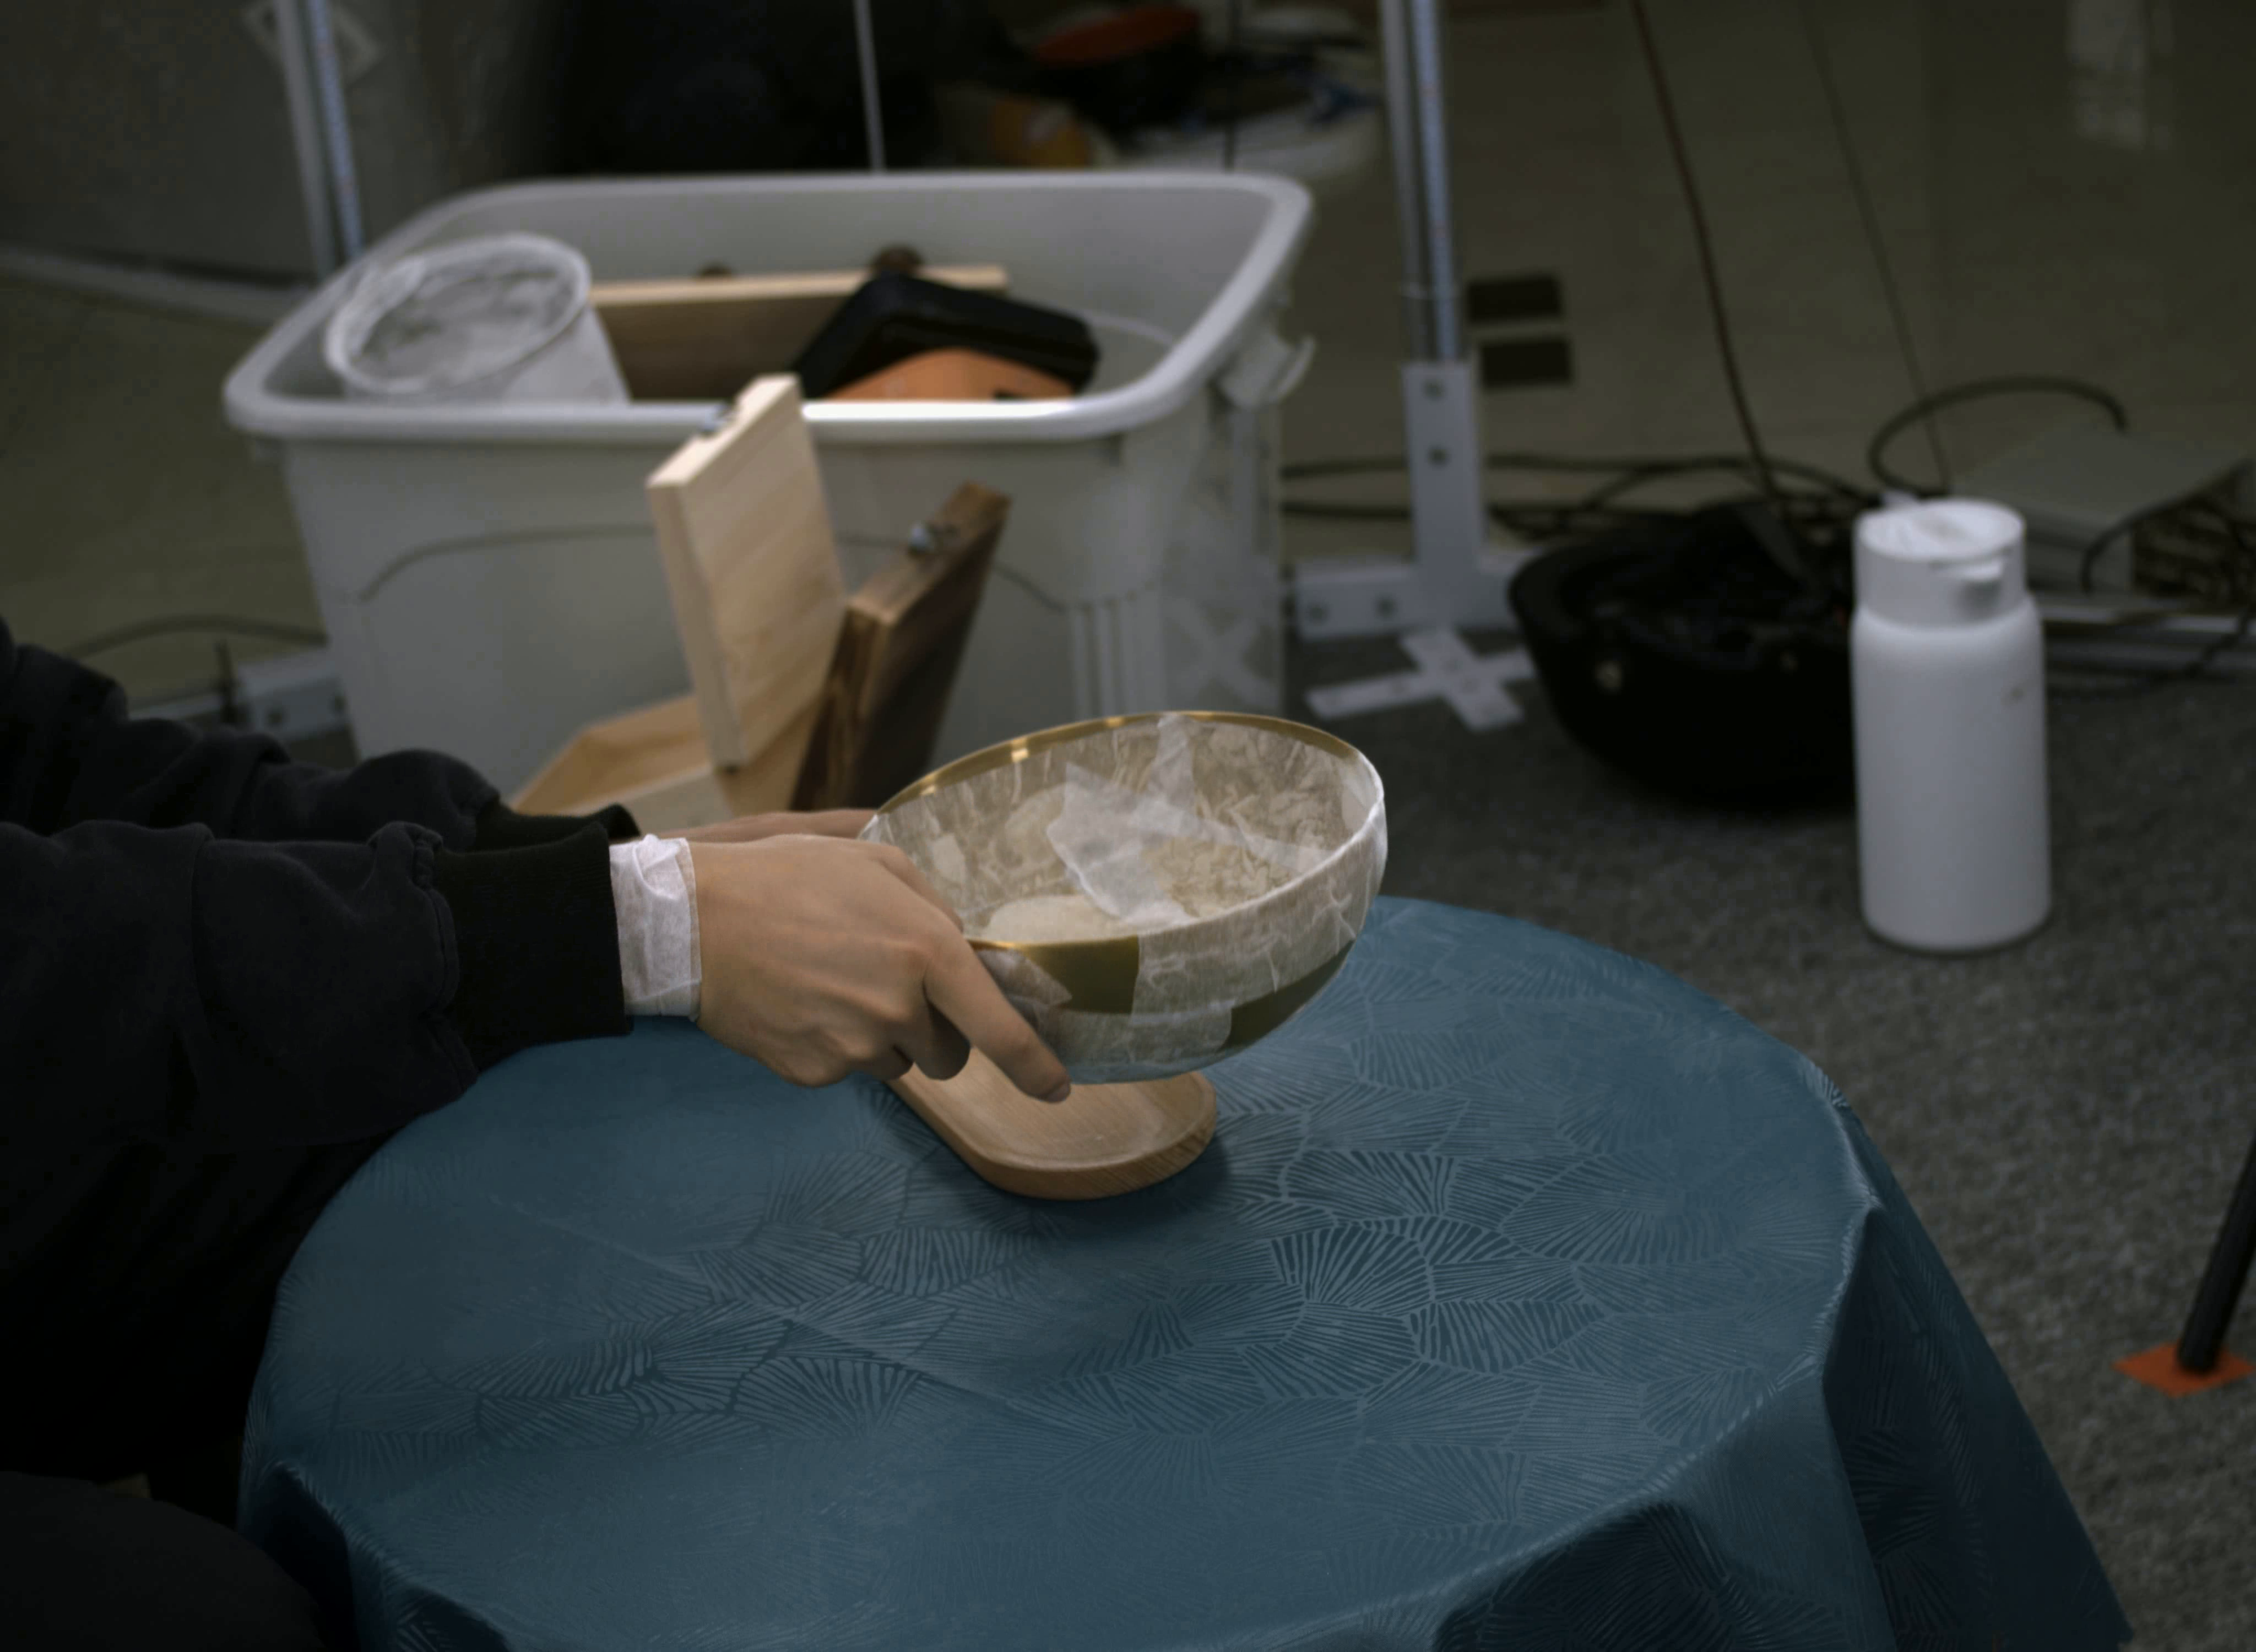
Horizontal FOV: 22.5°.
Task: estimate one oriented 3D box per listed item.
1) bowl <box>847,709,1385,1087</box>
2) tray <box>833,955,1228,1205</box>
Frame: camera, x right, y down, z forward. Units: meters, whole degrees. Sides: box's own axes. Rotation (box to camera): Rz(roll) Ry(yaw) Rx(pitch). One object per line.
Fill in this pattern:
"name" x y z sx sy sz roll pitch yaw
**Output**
"bowl" -0.001 0.038 2.119 0.214 0.096 0.211 -9 24 4
"tray" -0.040 0.095 2.239 0.101 0.020 0.228 -18 29 -20
